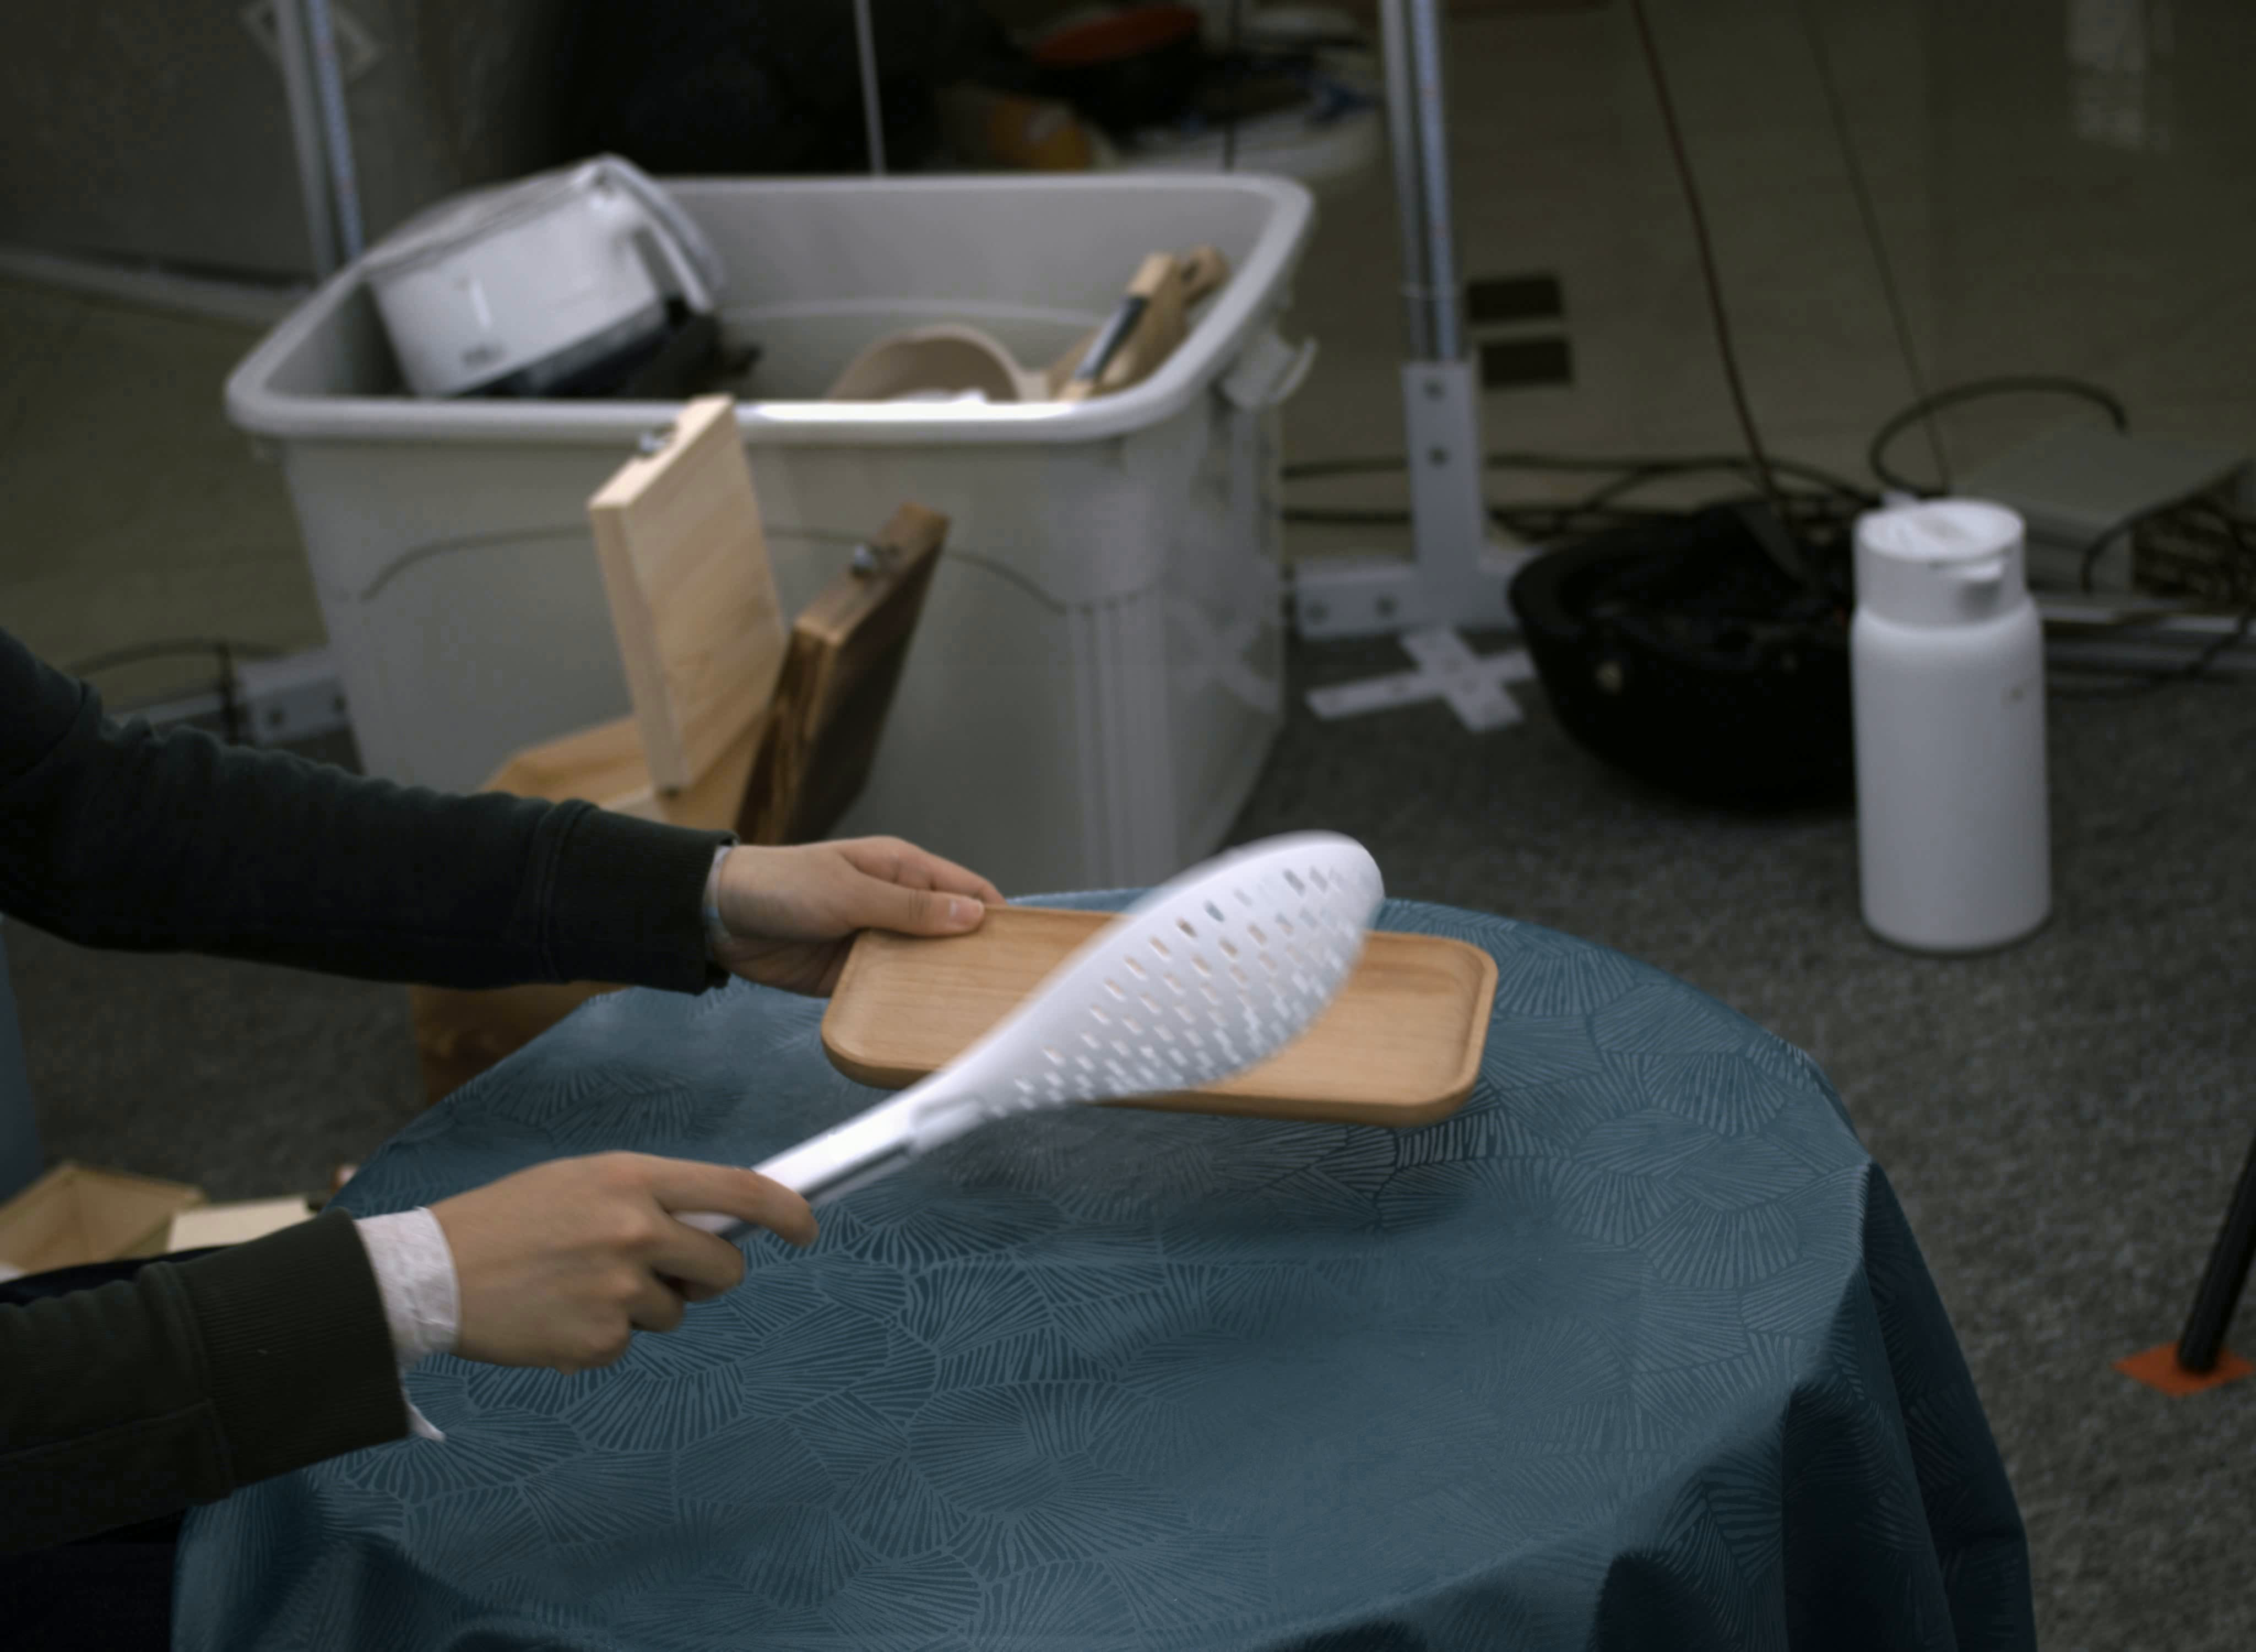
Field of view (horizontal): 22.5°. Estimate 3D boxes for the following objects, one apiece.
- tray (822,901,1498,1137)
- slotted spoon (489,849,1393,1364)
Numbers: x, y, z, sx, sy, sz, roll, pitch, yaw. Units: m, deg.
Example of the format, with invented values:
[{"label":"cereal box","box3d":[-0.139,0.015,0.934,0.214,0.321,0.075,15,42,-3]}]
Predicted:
[{"label":"tray","box3d":[0.013,0.074,2.163,0.250,0.023,0.128,4,28,8]},{"label":"slotted spoon","box3d":[-0.061,0.101,1.964,0.349,0.138,0.045,-21,66,-6]}]
